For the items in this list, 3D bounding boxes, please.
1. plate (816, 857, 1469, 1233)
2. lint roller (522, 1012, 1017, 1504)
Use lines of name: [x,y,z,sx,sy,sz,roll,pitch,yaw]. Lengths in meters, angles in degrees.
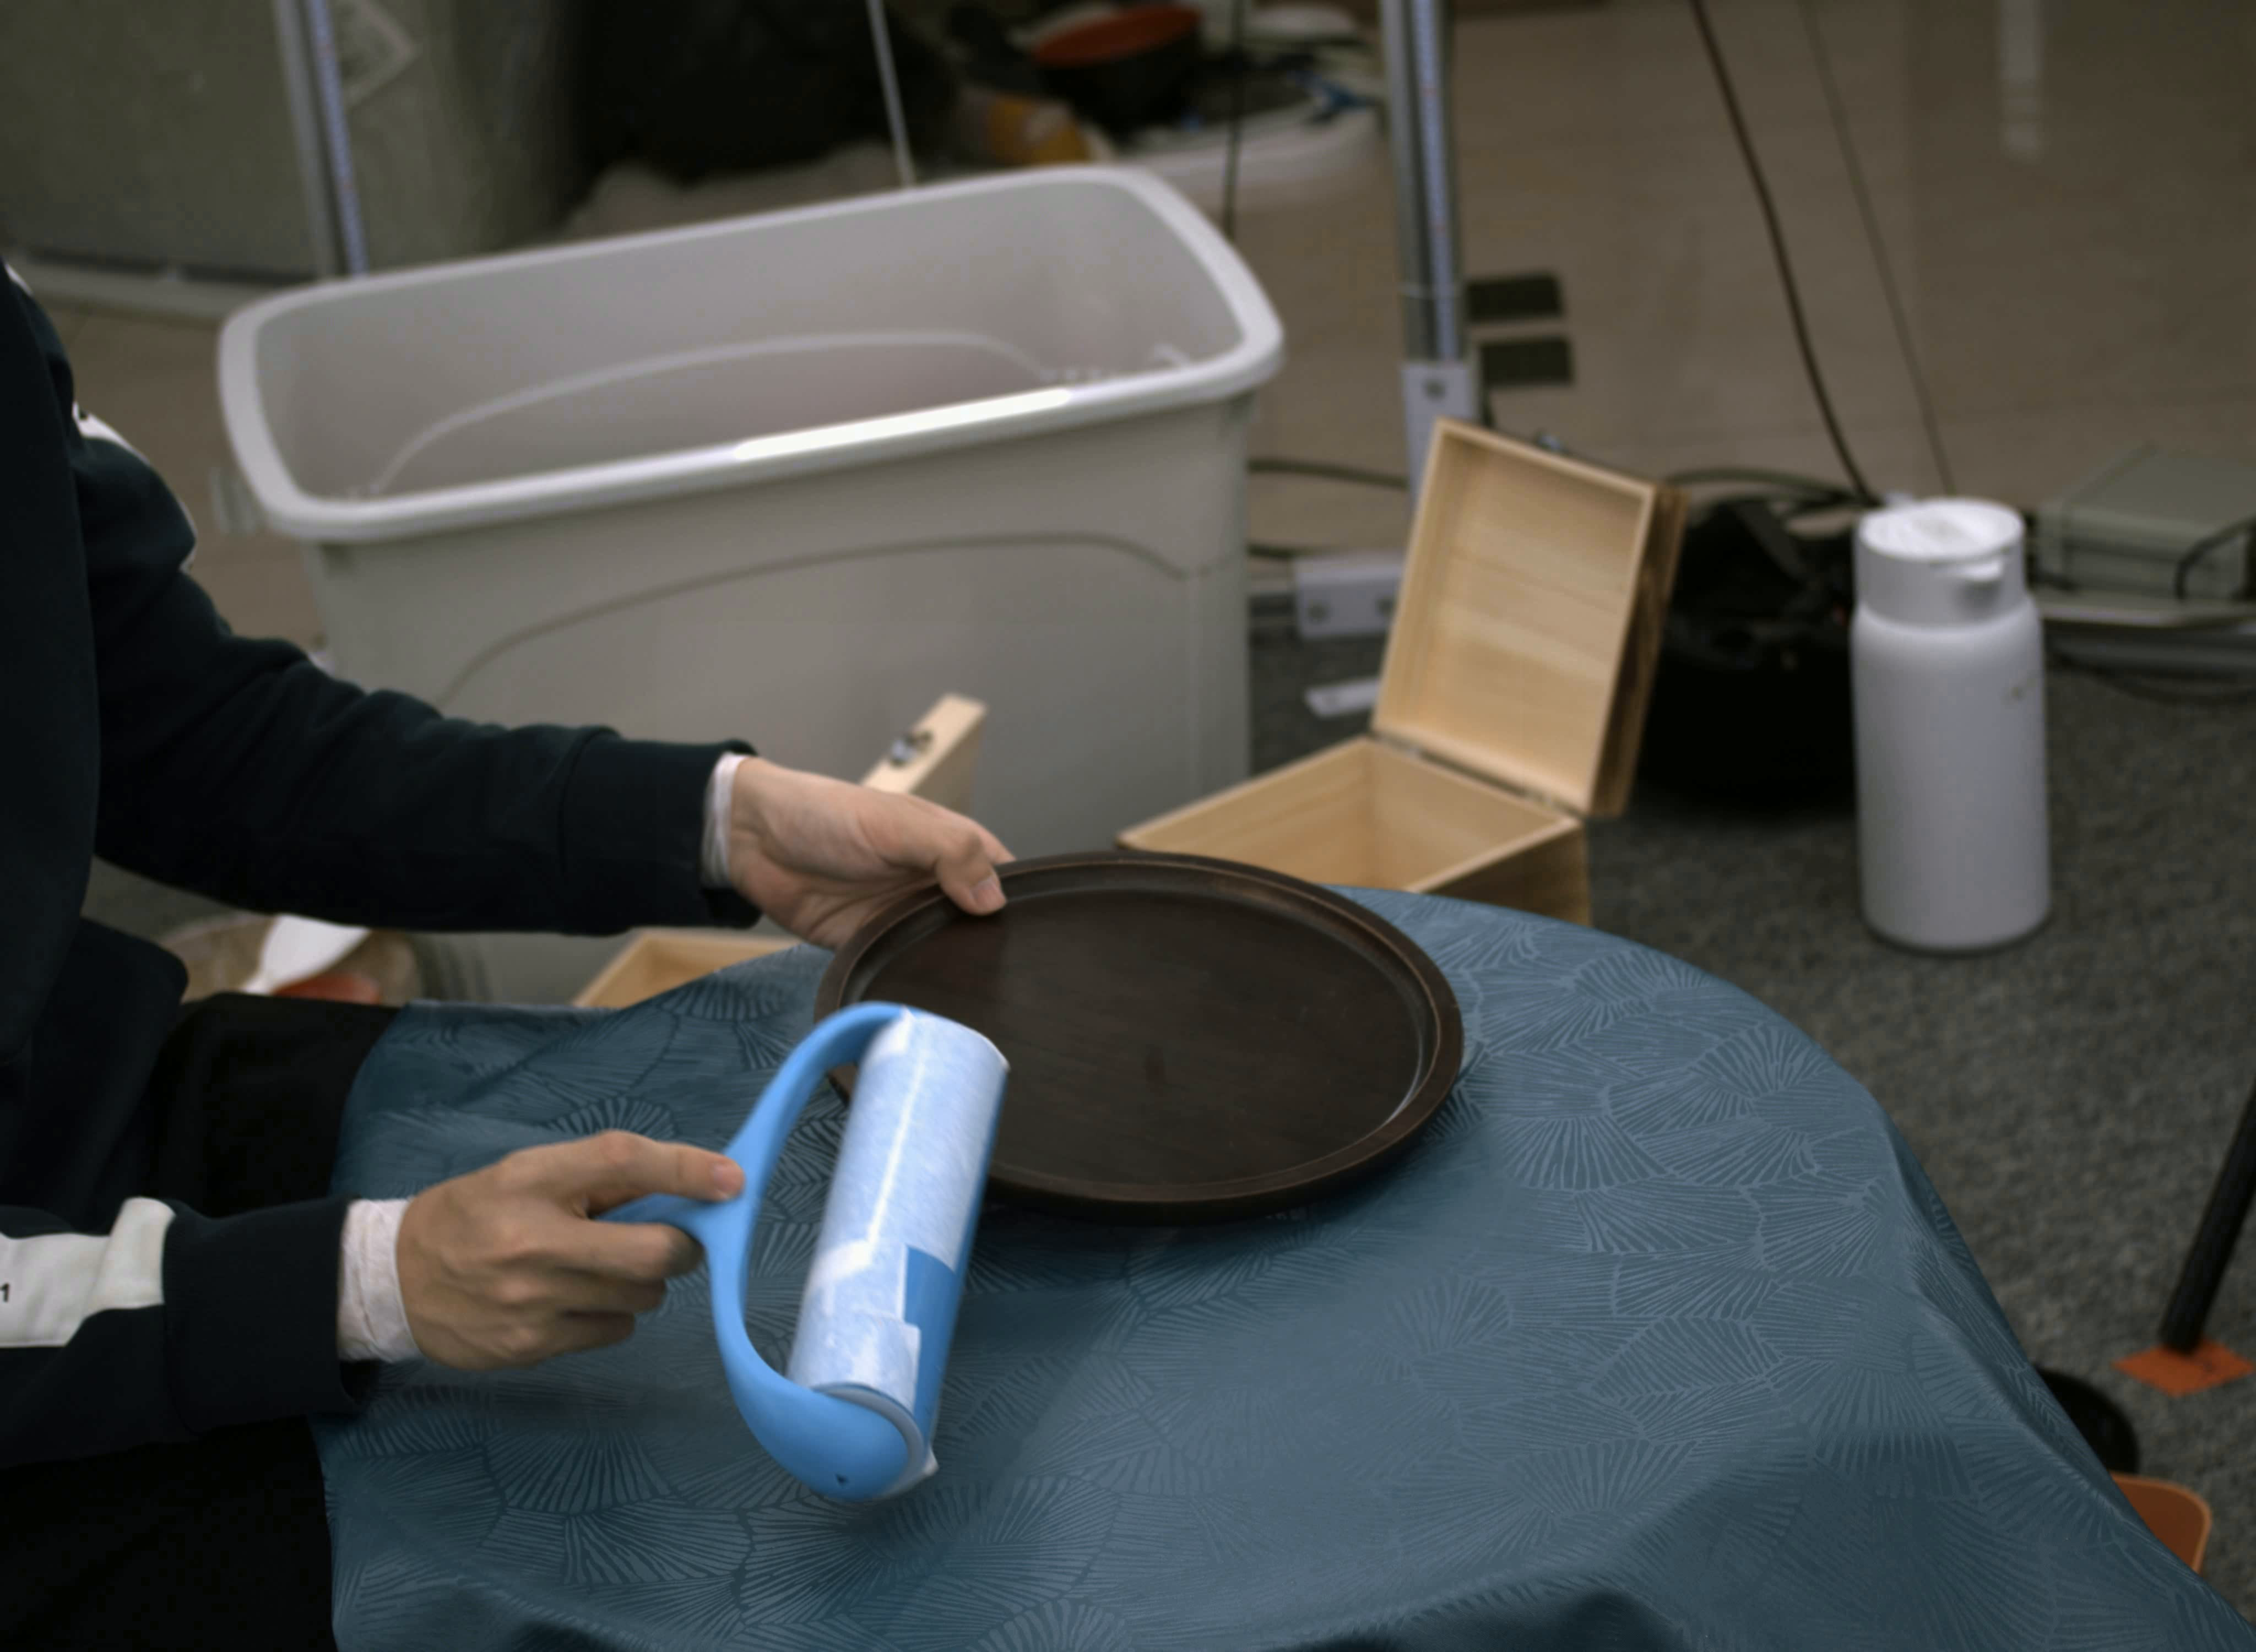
plate: [0.005,0.083,2.193,0.254,0.029,0.250,2,31,-1]
lint roller: [-0.136,0.157,2.010,0.180,0.069,0.225,-6,39,11]
